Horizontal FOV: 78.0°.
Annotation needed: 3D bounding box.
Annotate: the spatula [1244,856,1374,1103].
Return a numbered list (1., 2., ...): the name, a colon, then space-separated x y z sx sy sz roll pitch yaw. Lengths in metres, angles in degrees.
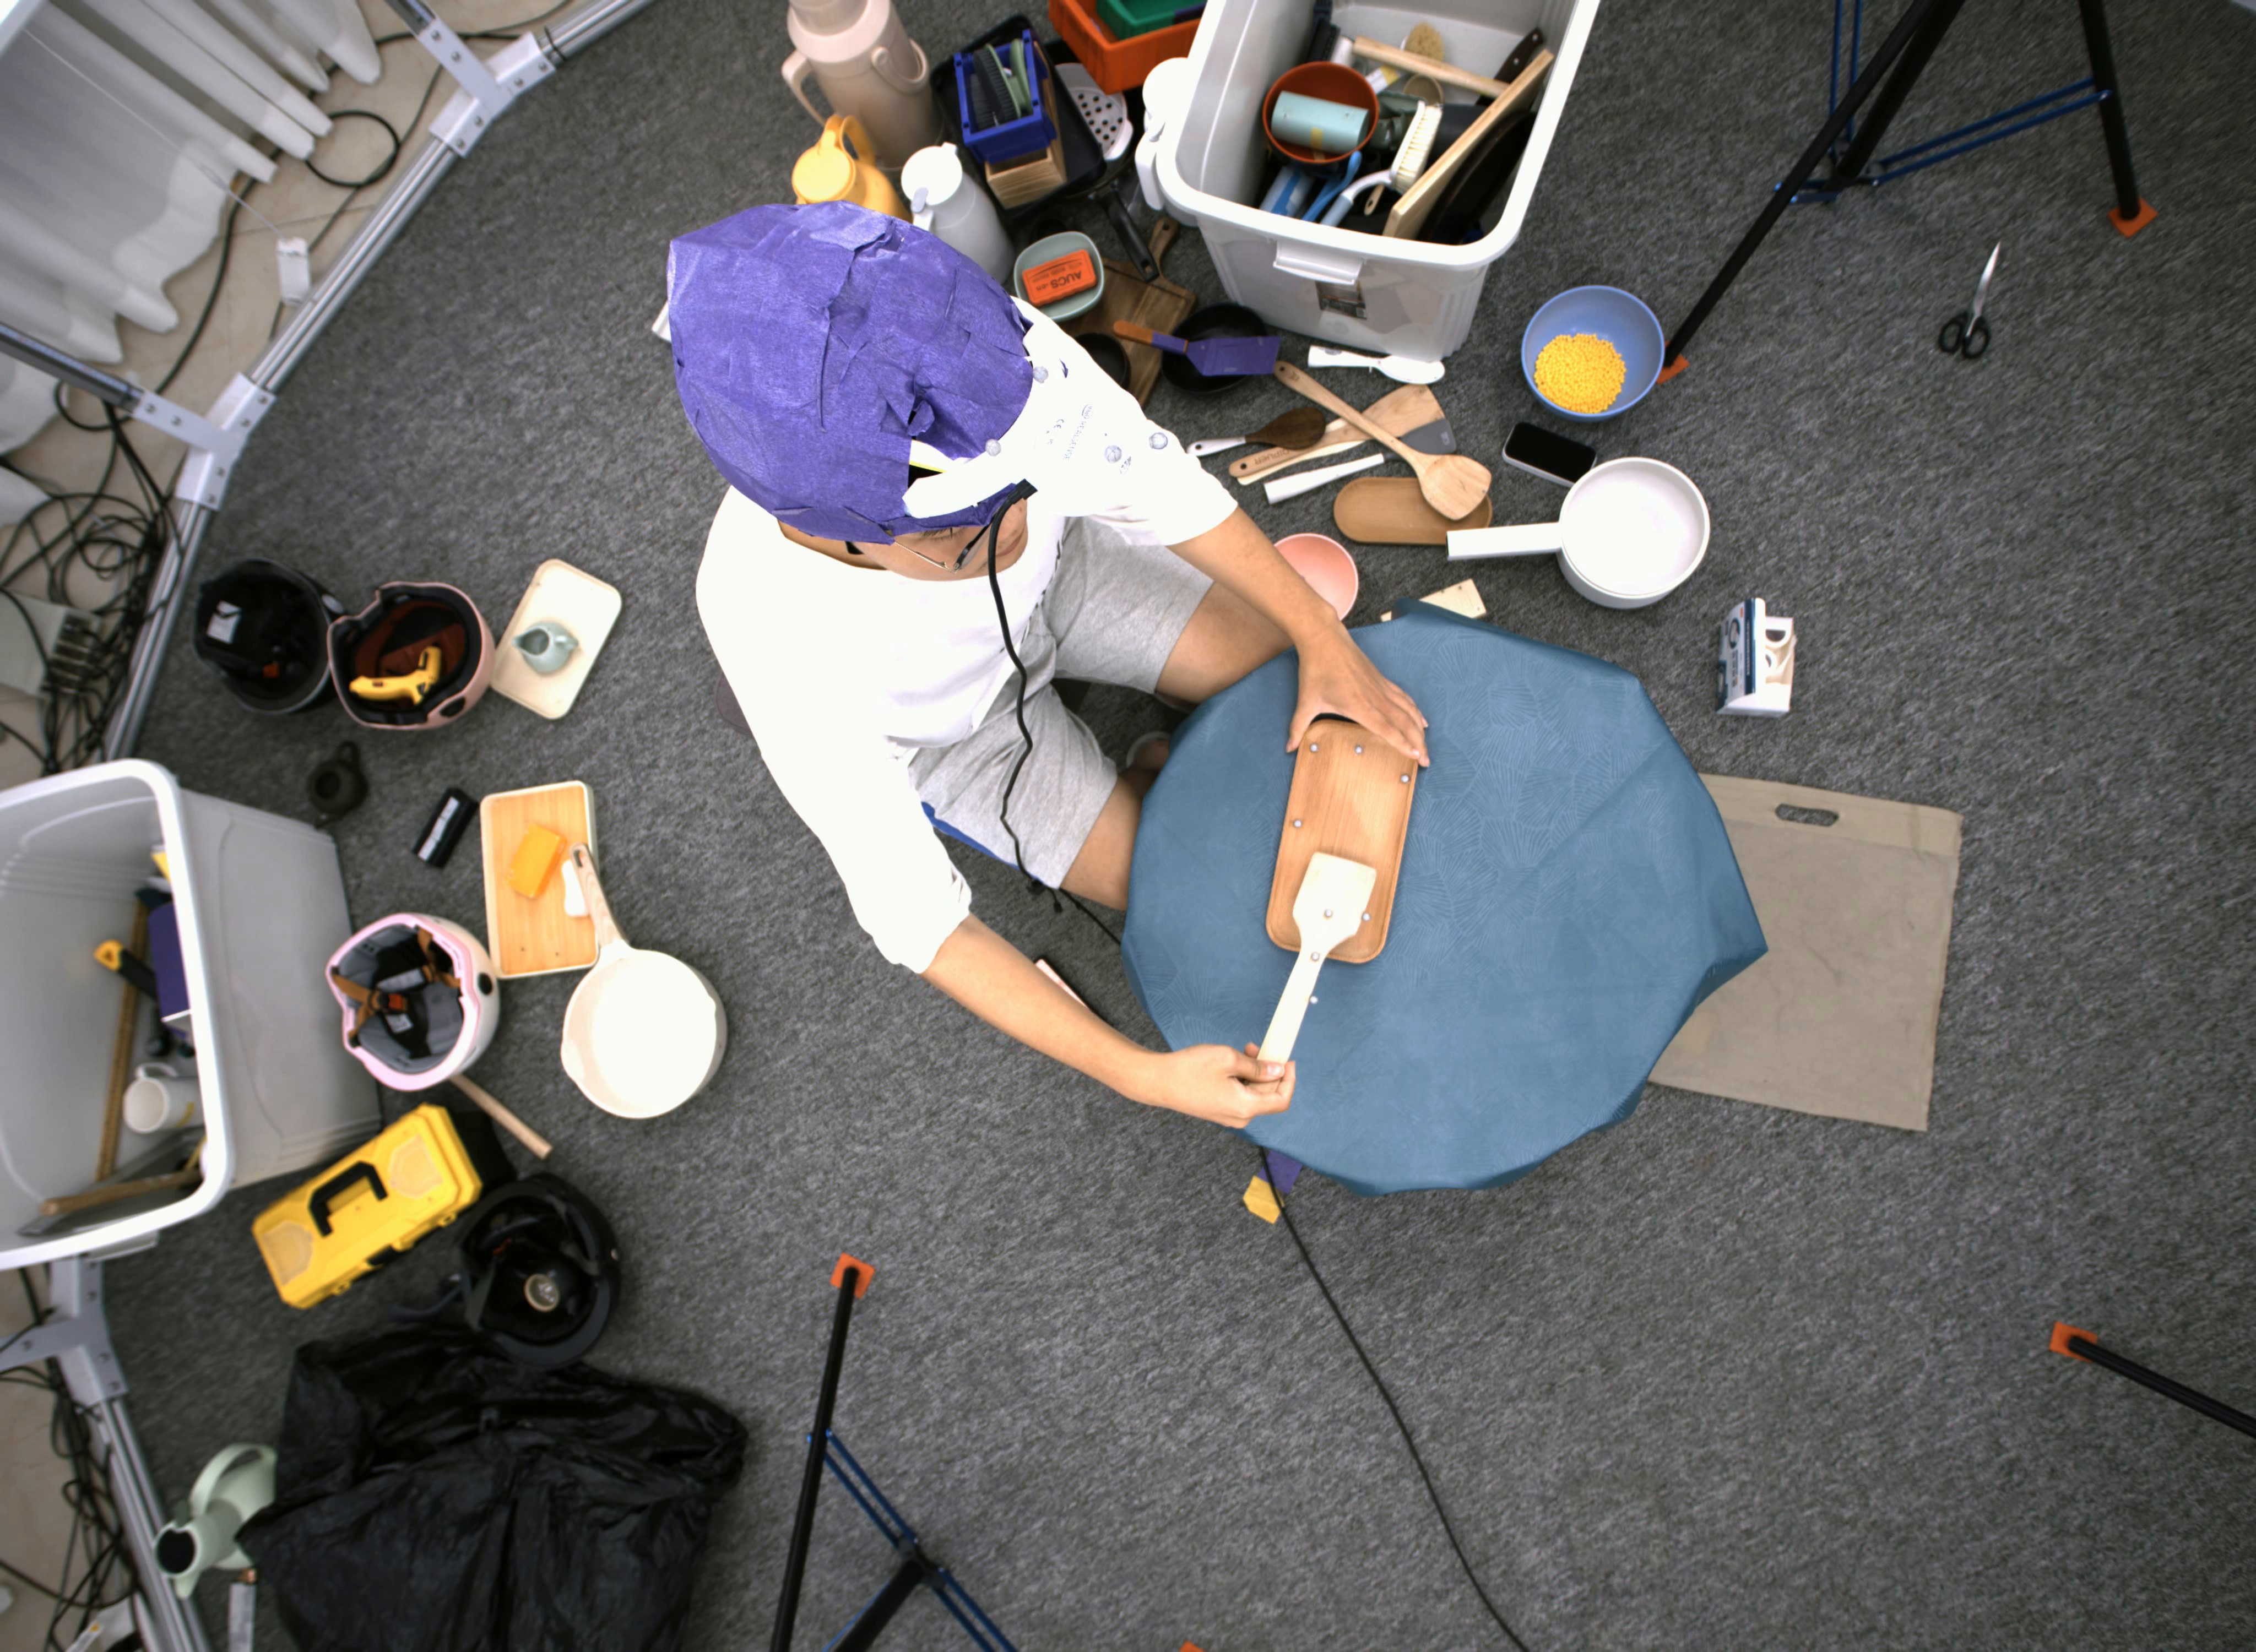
1. spatula: 0.173 0.148 1.367 0.072 0.011 0.286 17 56 14

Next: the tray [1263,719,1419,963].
1. tray: 0.226 0.014 1.464 0.131 0.023 0.250 12 89 14
